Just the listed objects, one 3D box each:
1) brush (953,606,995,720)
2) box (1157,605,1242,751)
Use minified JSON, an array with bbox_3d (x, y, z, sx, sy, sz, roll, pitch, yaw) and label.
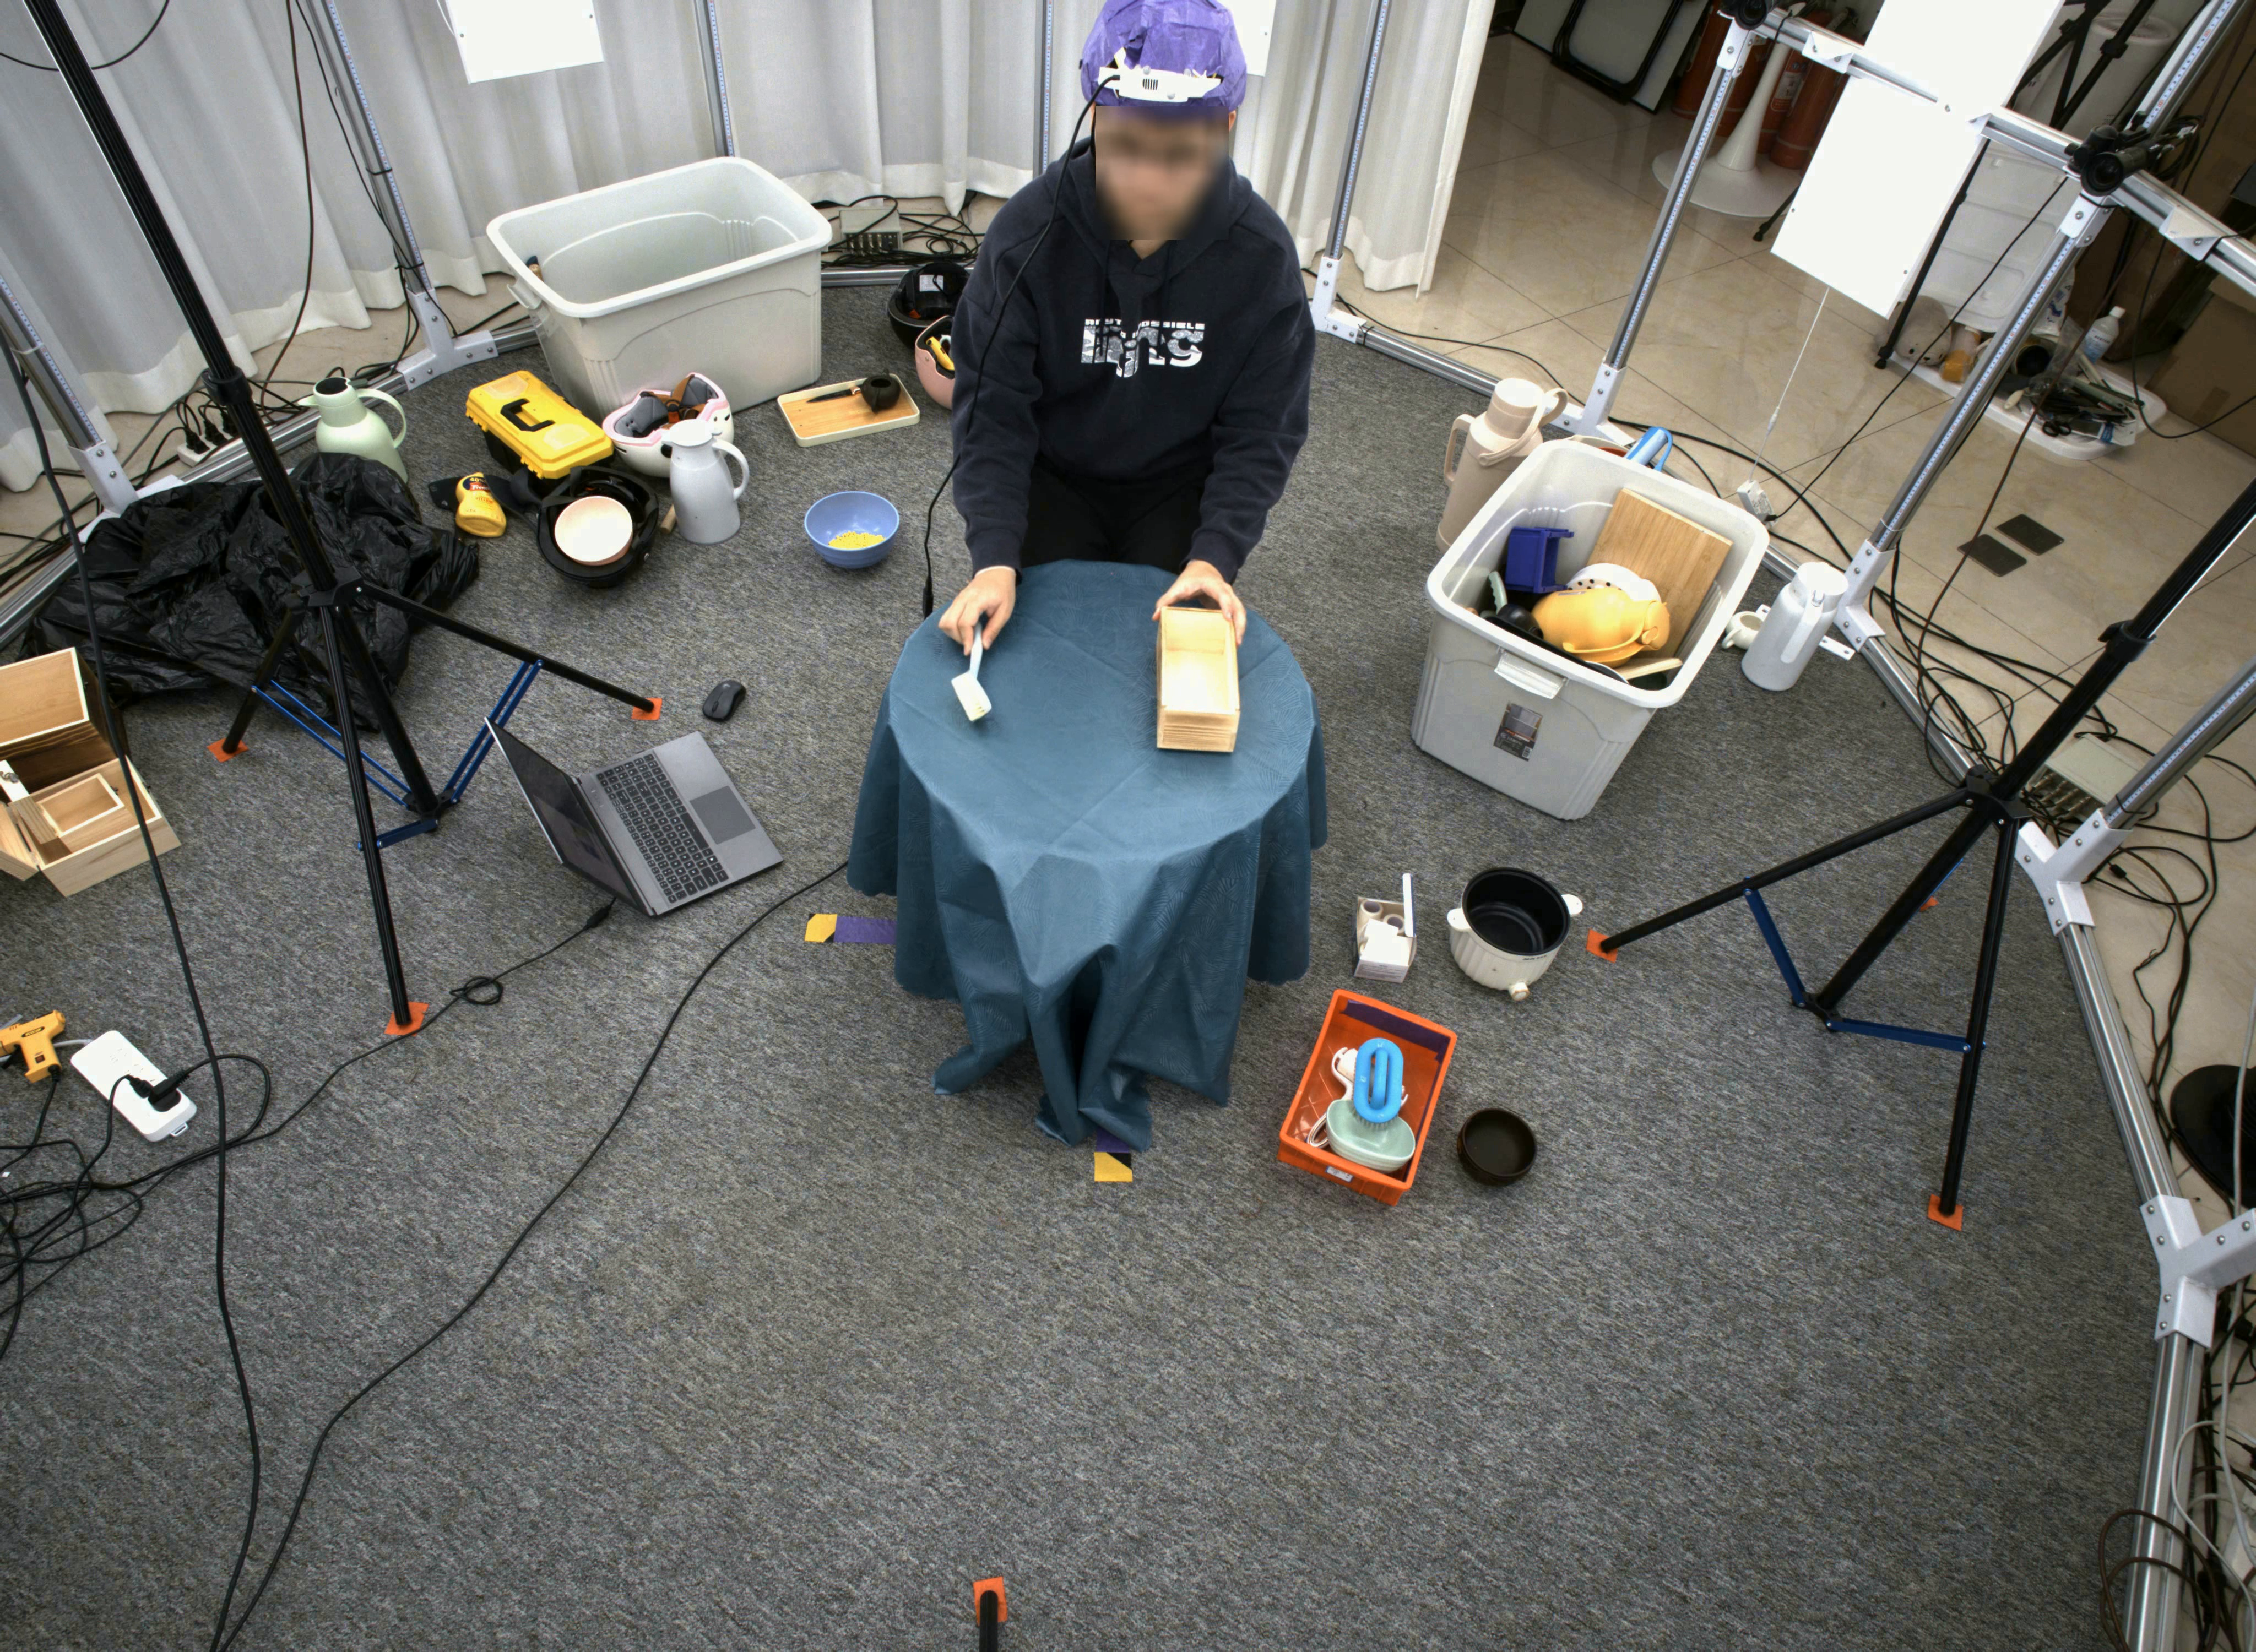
[{"bbox_3d":[-0.224,-0.234,1.815,0.049,0.037,0.234,-20,48,7],"label":"brush"},{"bbox_3d":[0.097,-0.210,1.797,0.107,0.078,0.217,3,47,-3],"label":"box"}]
